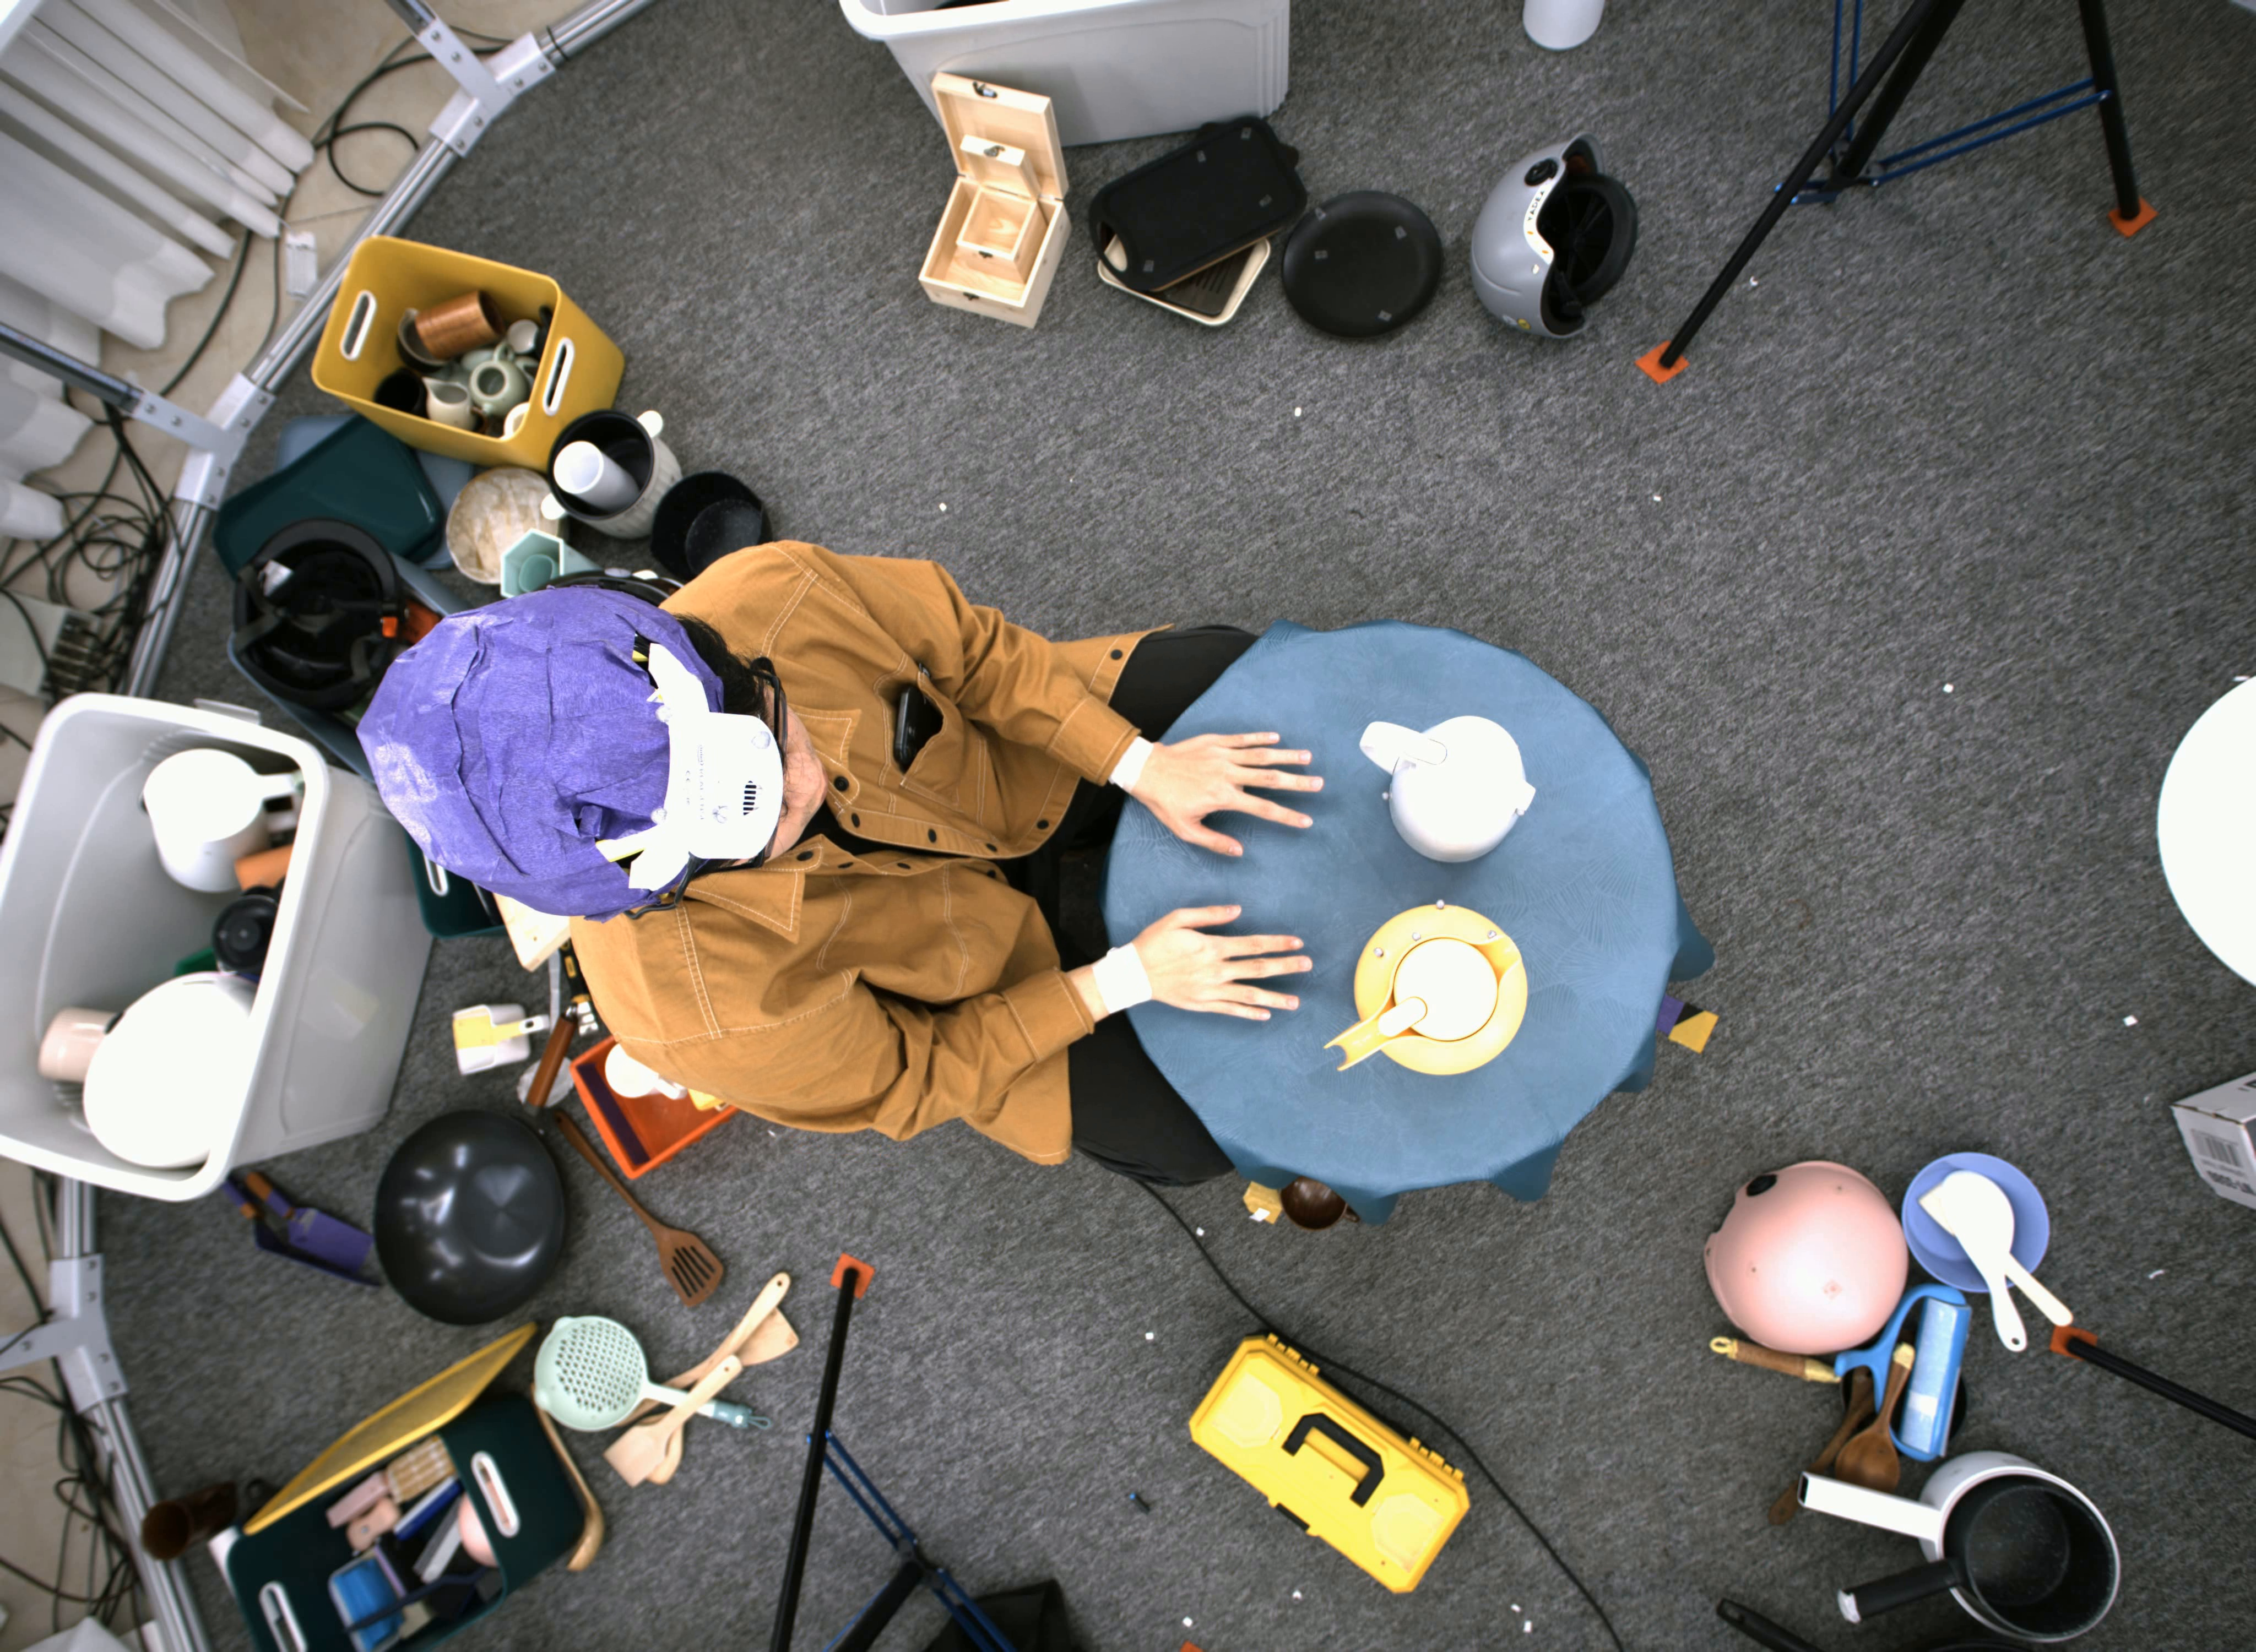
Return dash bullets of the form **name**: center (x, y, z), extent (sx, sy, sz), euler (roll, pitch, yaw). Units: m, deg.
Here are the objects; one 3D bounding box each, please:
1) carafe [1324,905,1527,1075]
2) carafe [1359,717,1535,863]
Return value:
- **carafe**: center (0.280, 0.164, 1.323), extent (0.203, 0.261, 0.162), euler (-31, 78, 5)
- **carafe**: center (0.304, -0.048, 1.334), extent (0.167, 0.249, 0.132), euler (26, 90, 12)
